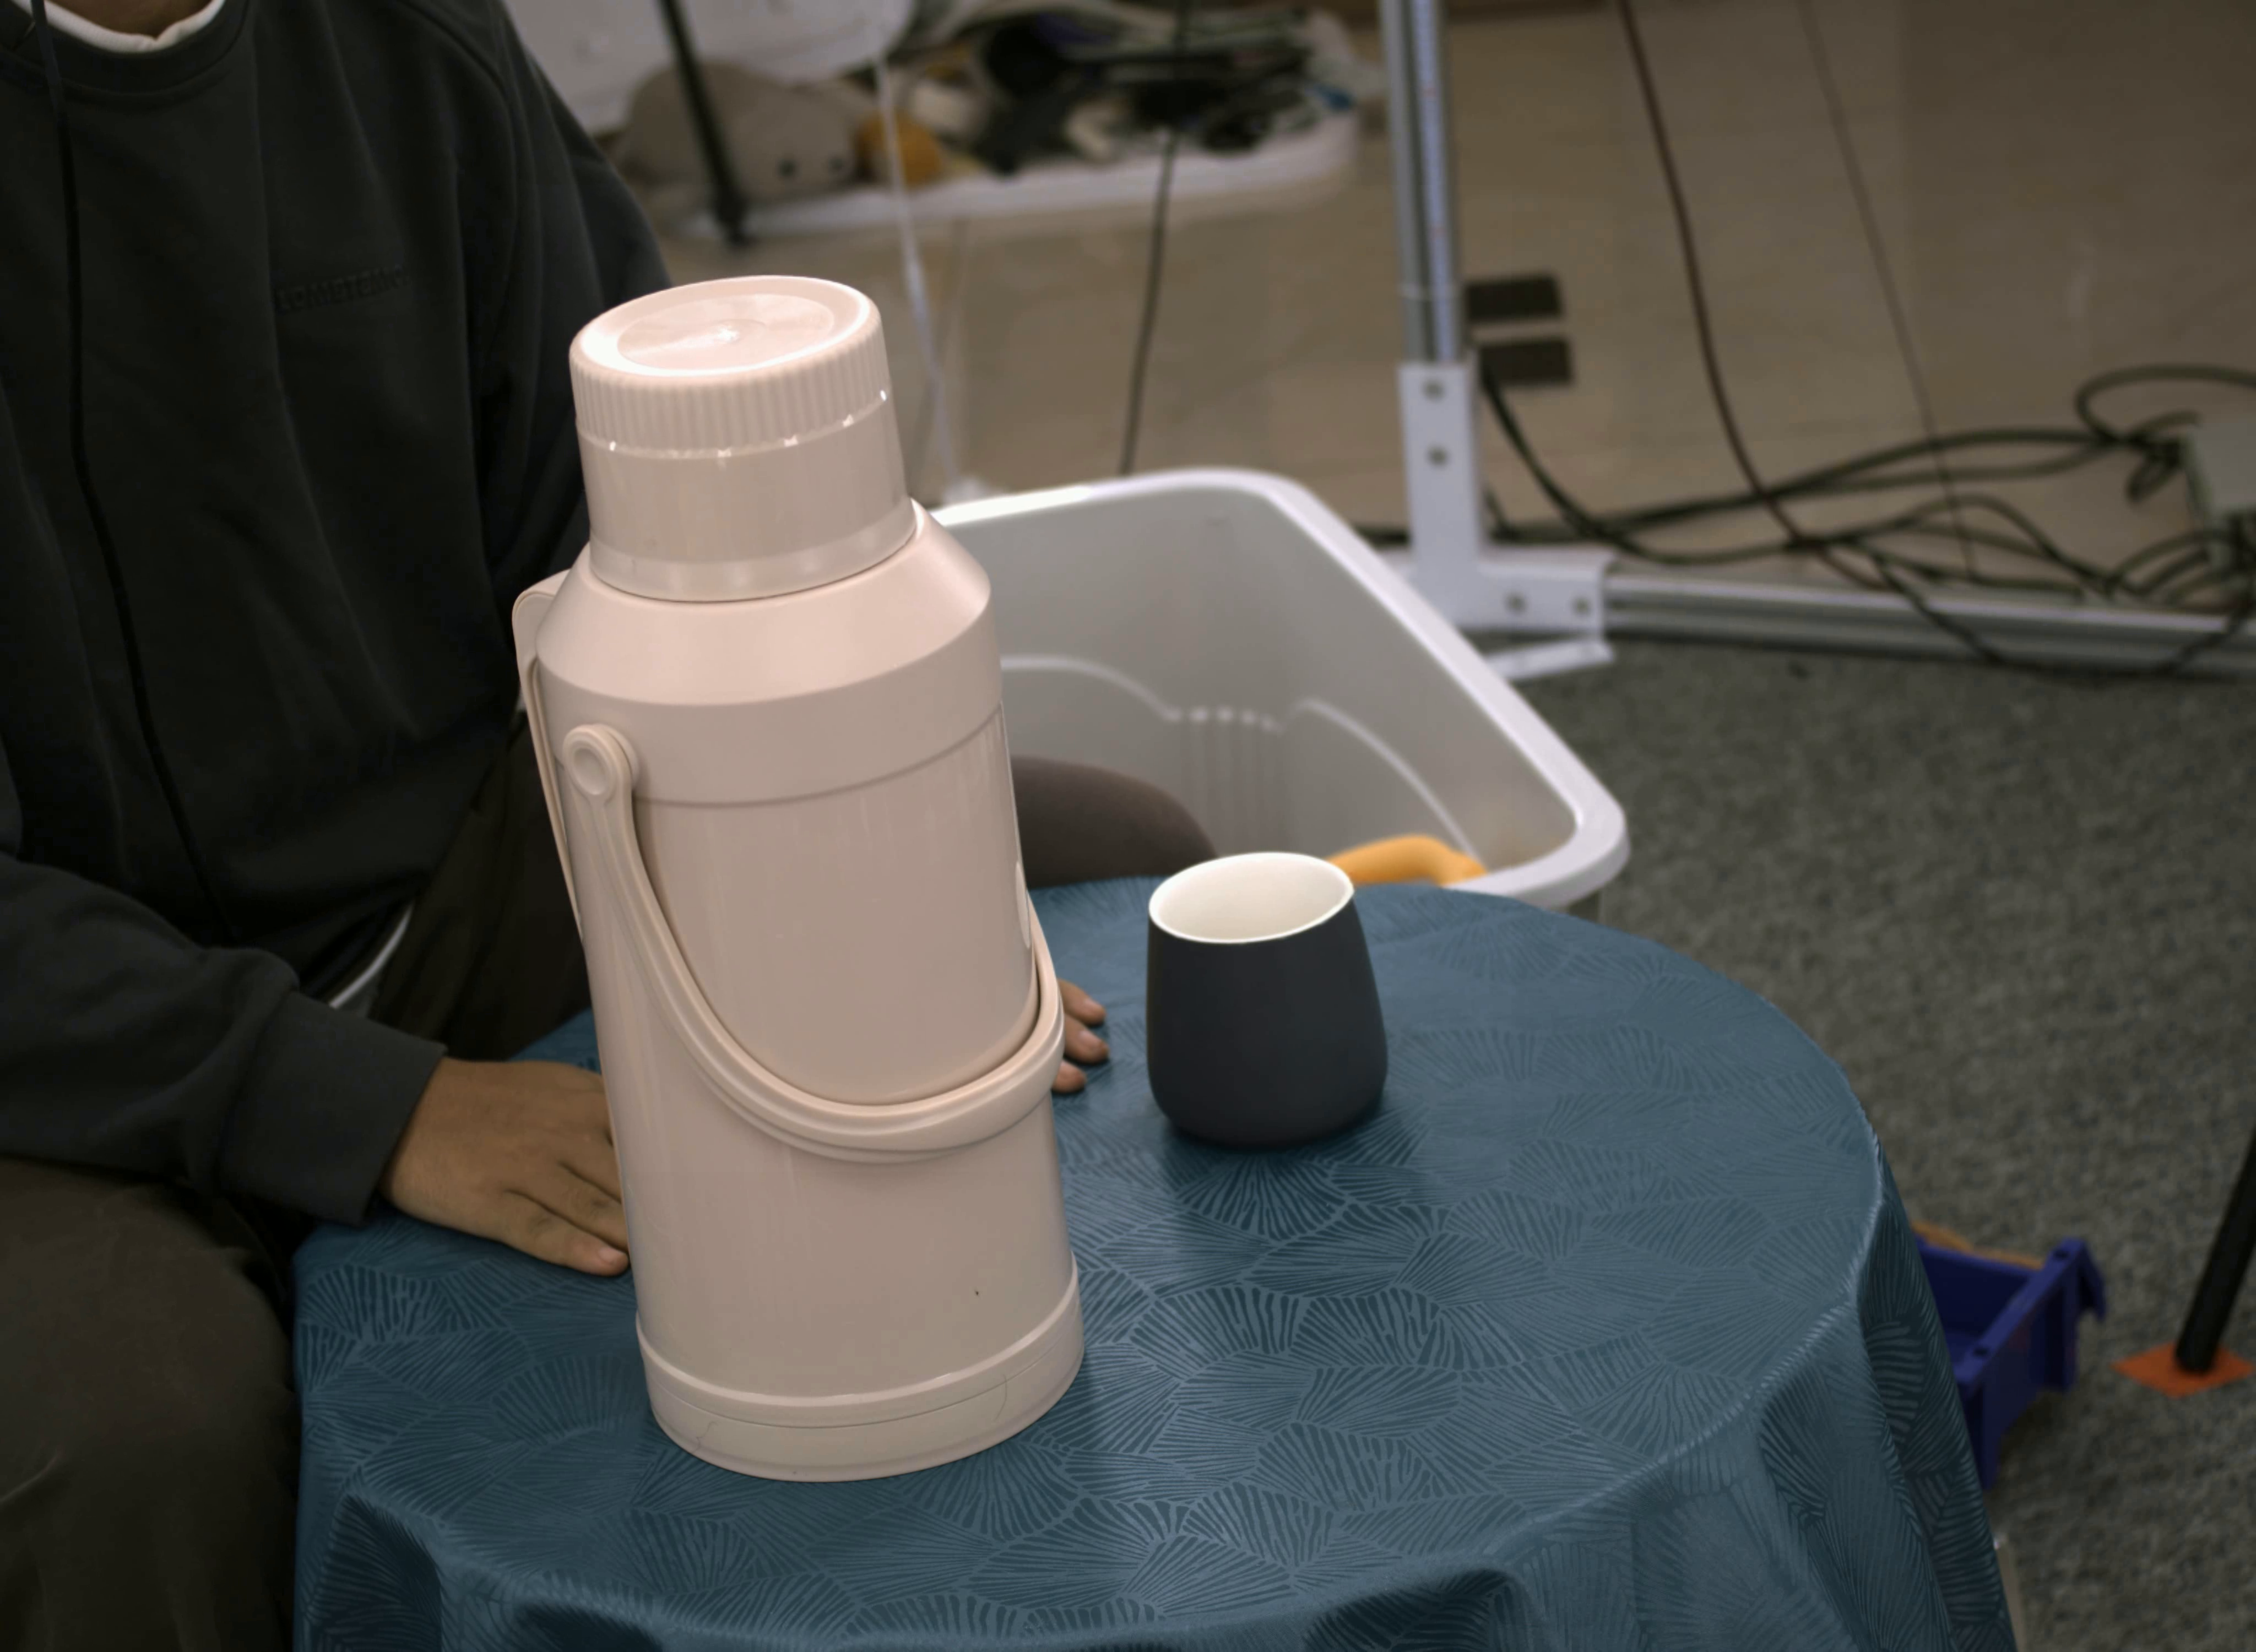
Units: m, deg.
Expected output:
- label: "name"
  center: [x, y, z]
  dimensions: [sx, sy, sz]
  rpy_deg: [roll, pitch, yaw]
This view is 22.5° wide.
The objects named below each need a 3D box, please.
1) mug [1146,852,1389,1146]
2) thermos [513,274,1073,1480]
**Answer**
- label: "mug"
  center: [0.058, 0.061, 2.194]
  dimensions: [0.093, 0.091, 0.122]
  rpy_deg: [7, 28, 27]
- label: "thermos"
  center: [-0.125, 0.013, 1.969]
  dimensions: [0.205, 0.413, 0.173]
  rpy_deg: [16, 33, 38]
